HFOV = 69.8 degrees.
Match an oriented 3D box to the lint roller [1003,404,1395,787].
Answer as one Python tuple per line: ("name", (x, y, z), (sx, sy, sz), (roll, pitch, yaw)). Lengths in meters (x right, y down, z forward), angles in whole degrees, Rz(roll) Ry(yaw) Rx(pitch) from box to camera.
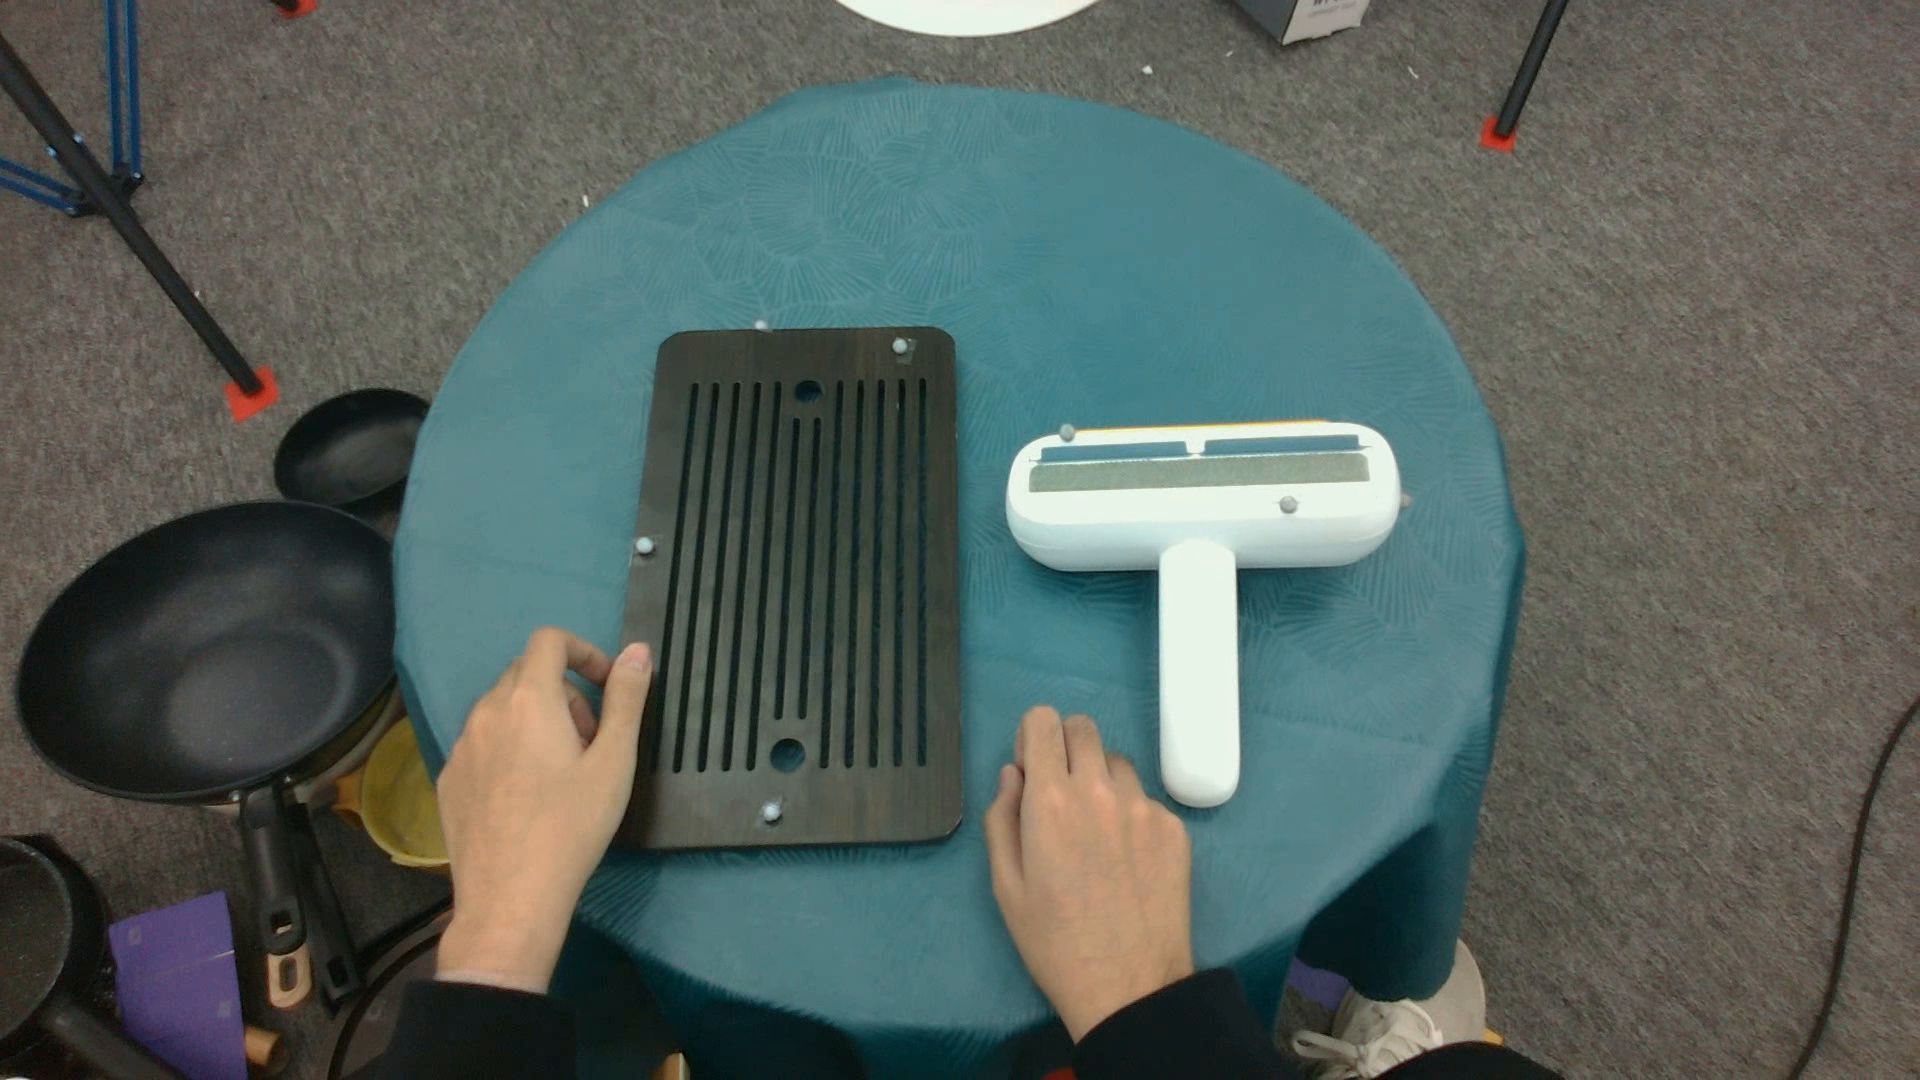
("lint roller", (0.111, 0.022, 0.671), (0.193, 0.074, 0.193), (4, 61, 9))

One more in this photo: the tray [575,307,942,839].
("tray", (-0.098, 0.004, 0.712), (0.170, 0.018, 0.307), (-2, 59, -1))
